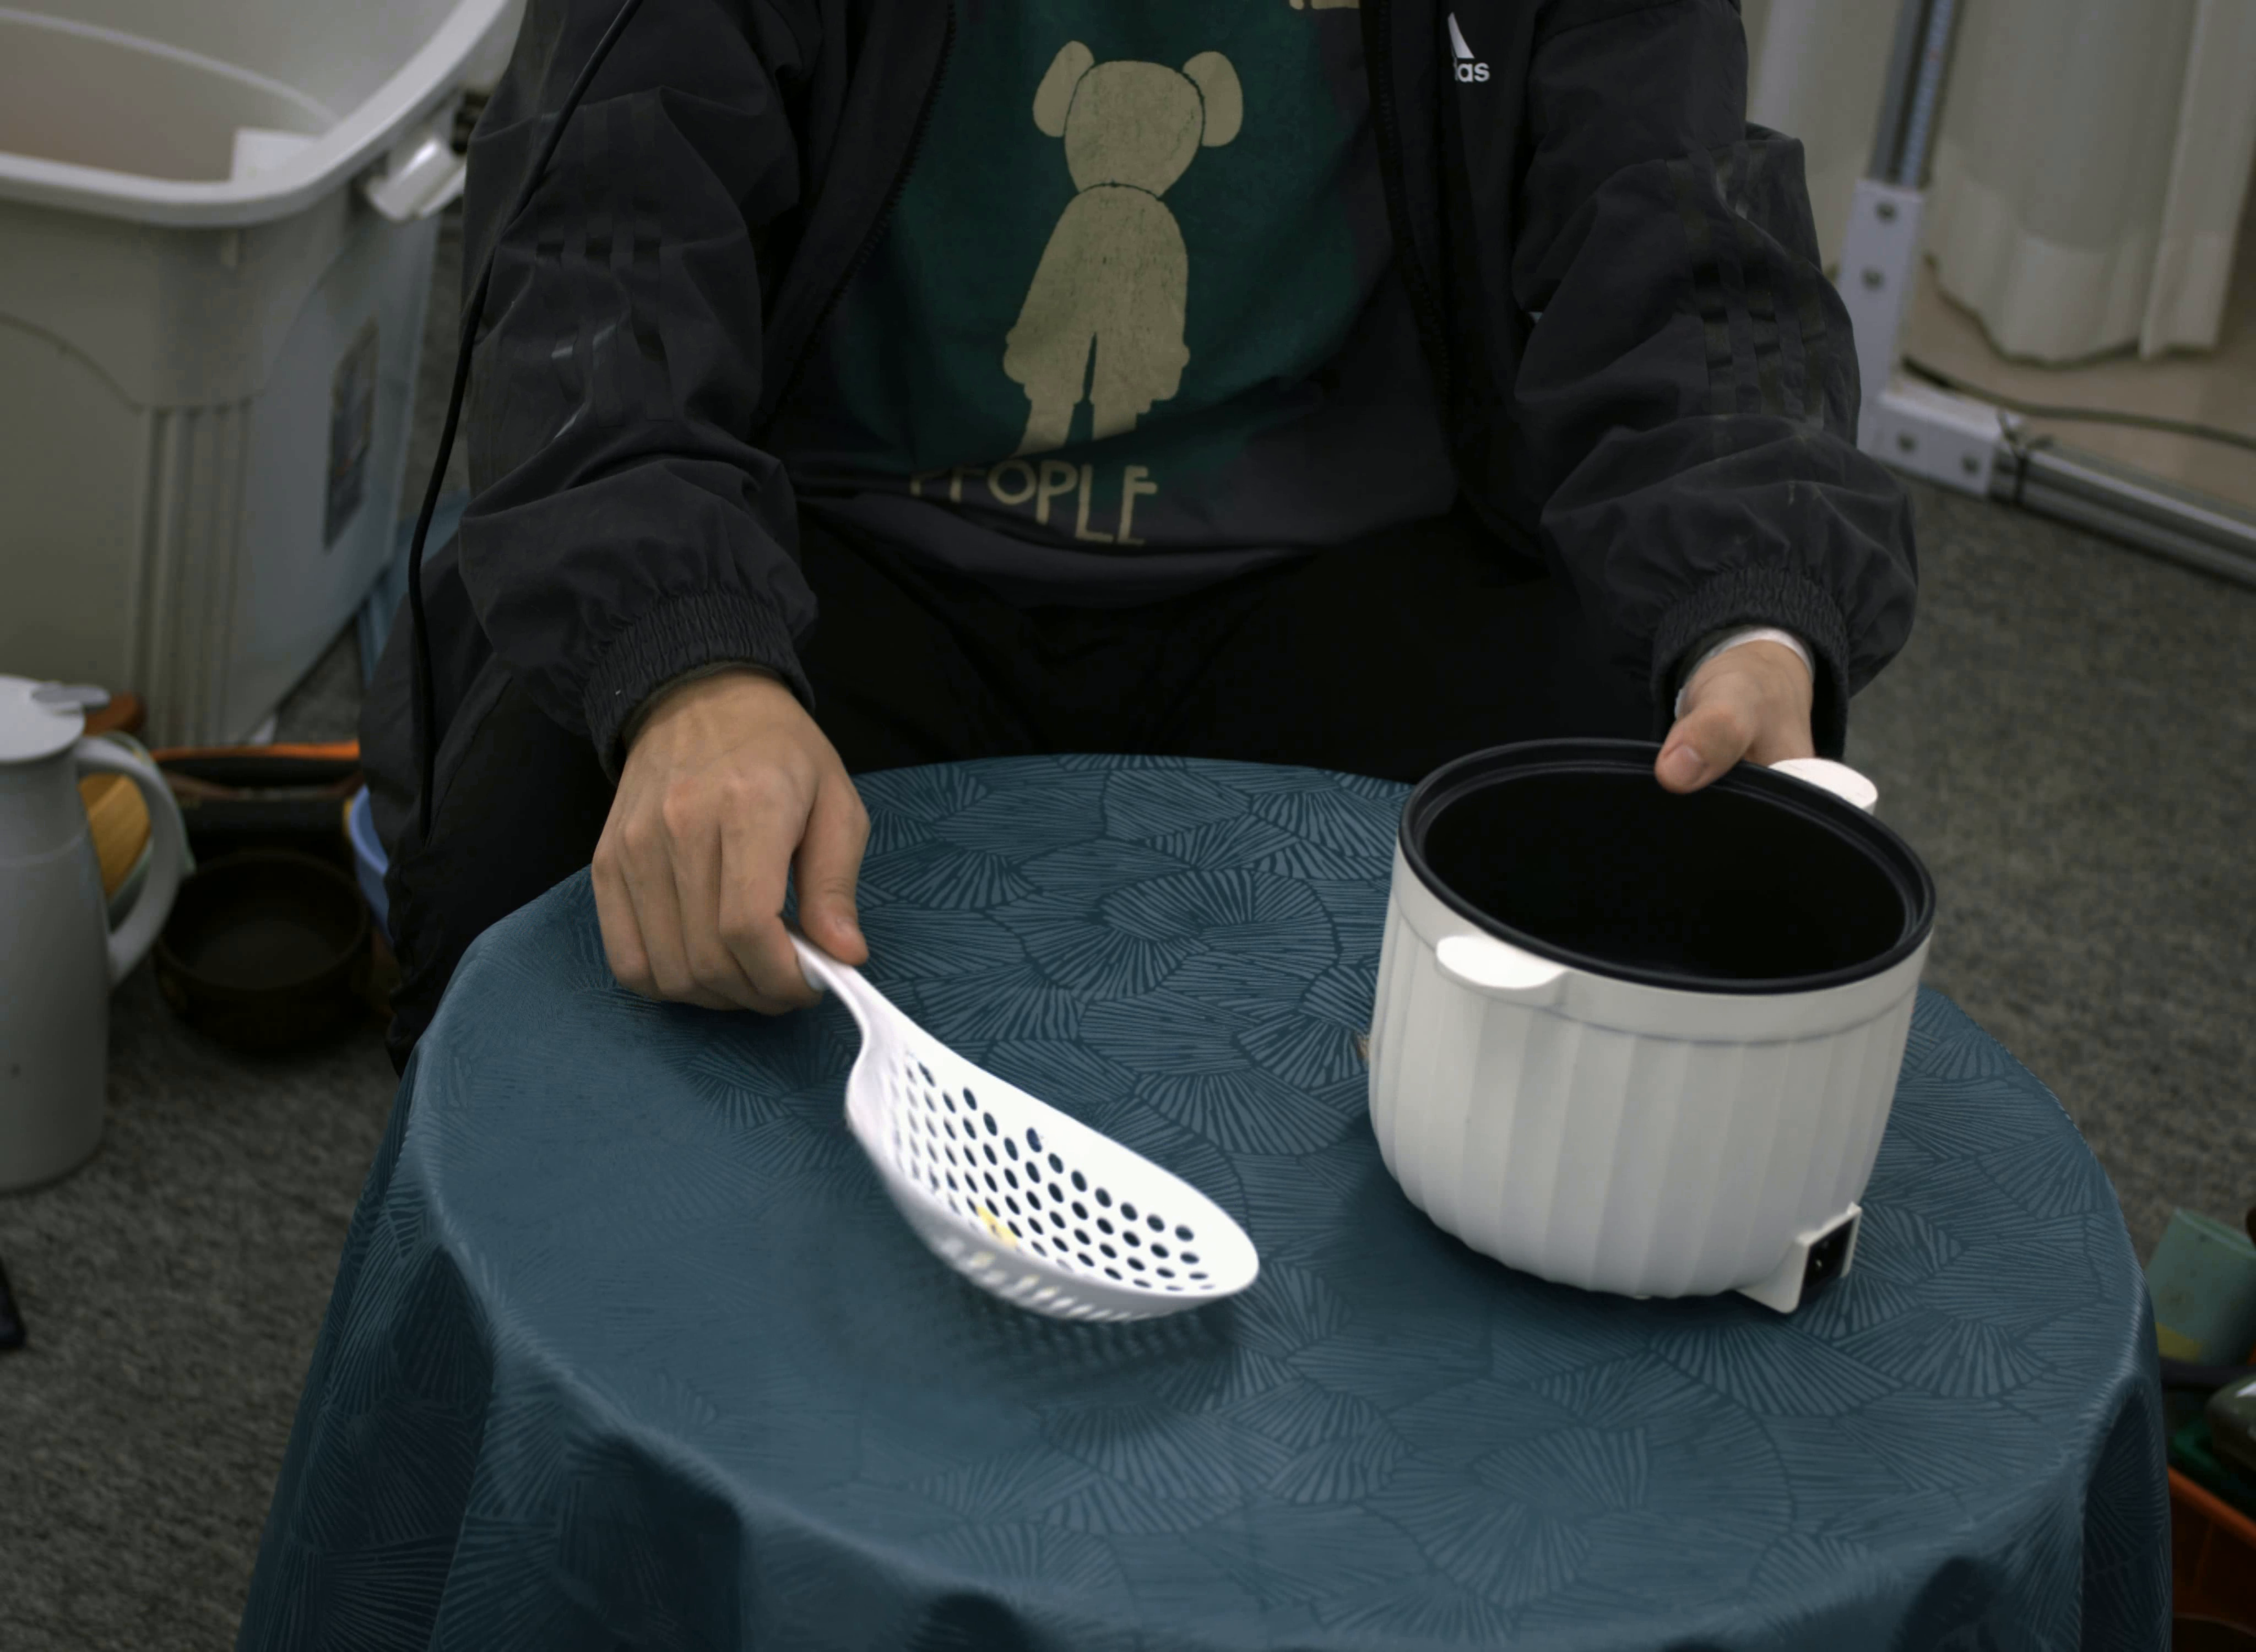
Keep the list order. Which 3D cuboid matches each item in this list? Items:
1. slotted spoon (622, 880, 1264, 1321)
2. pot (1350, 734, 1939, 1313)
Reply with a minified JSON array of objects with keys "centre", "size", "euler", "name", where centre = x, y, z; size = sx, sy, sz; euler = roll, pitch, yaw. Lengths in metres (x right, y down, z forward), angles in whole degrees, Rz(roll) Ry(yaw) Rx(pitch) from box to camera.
[{"centre":[-0.082,0.082,1.812],"size":[0.135,0.050,0.351],"euler":[4,25,-35],"name":"slotted spoon"},{"centre":[0.166,0.068,1.799],"size":[0.192,0.142,0.239],"euler":[27,31,29],"name":"pot"}]
